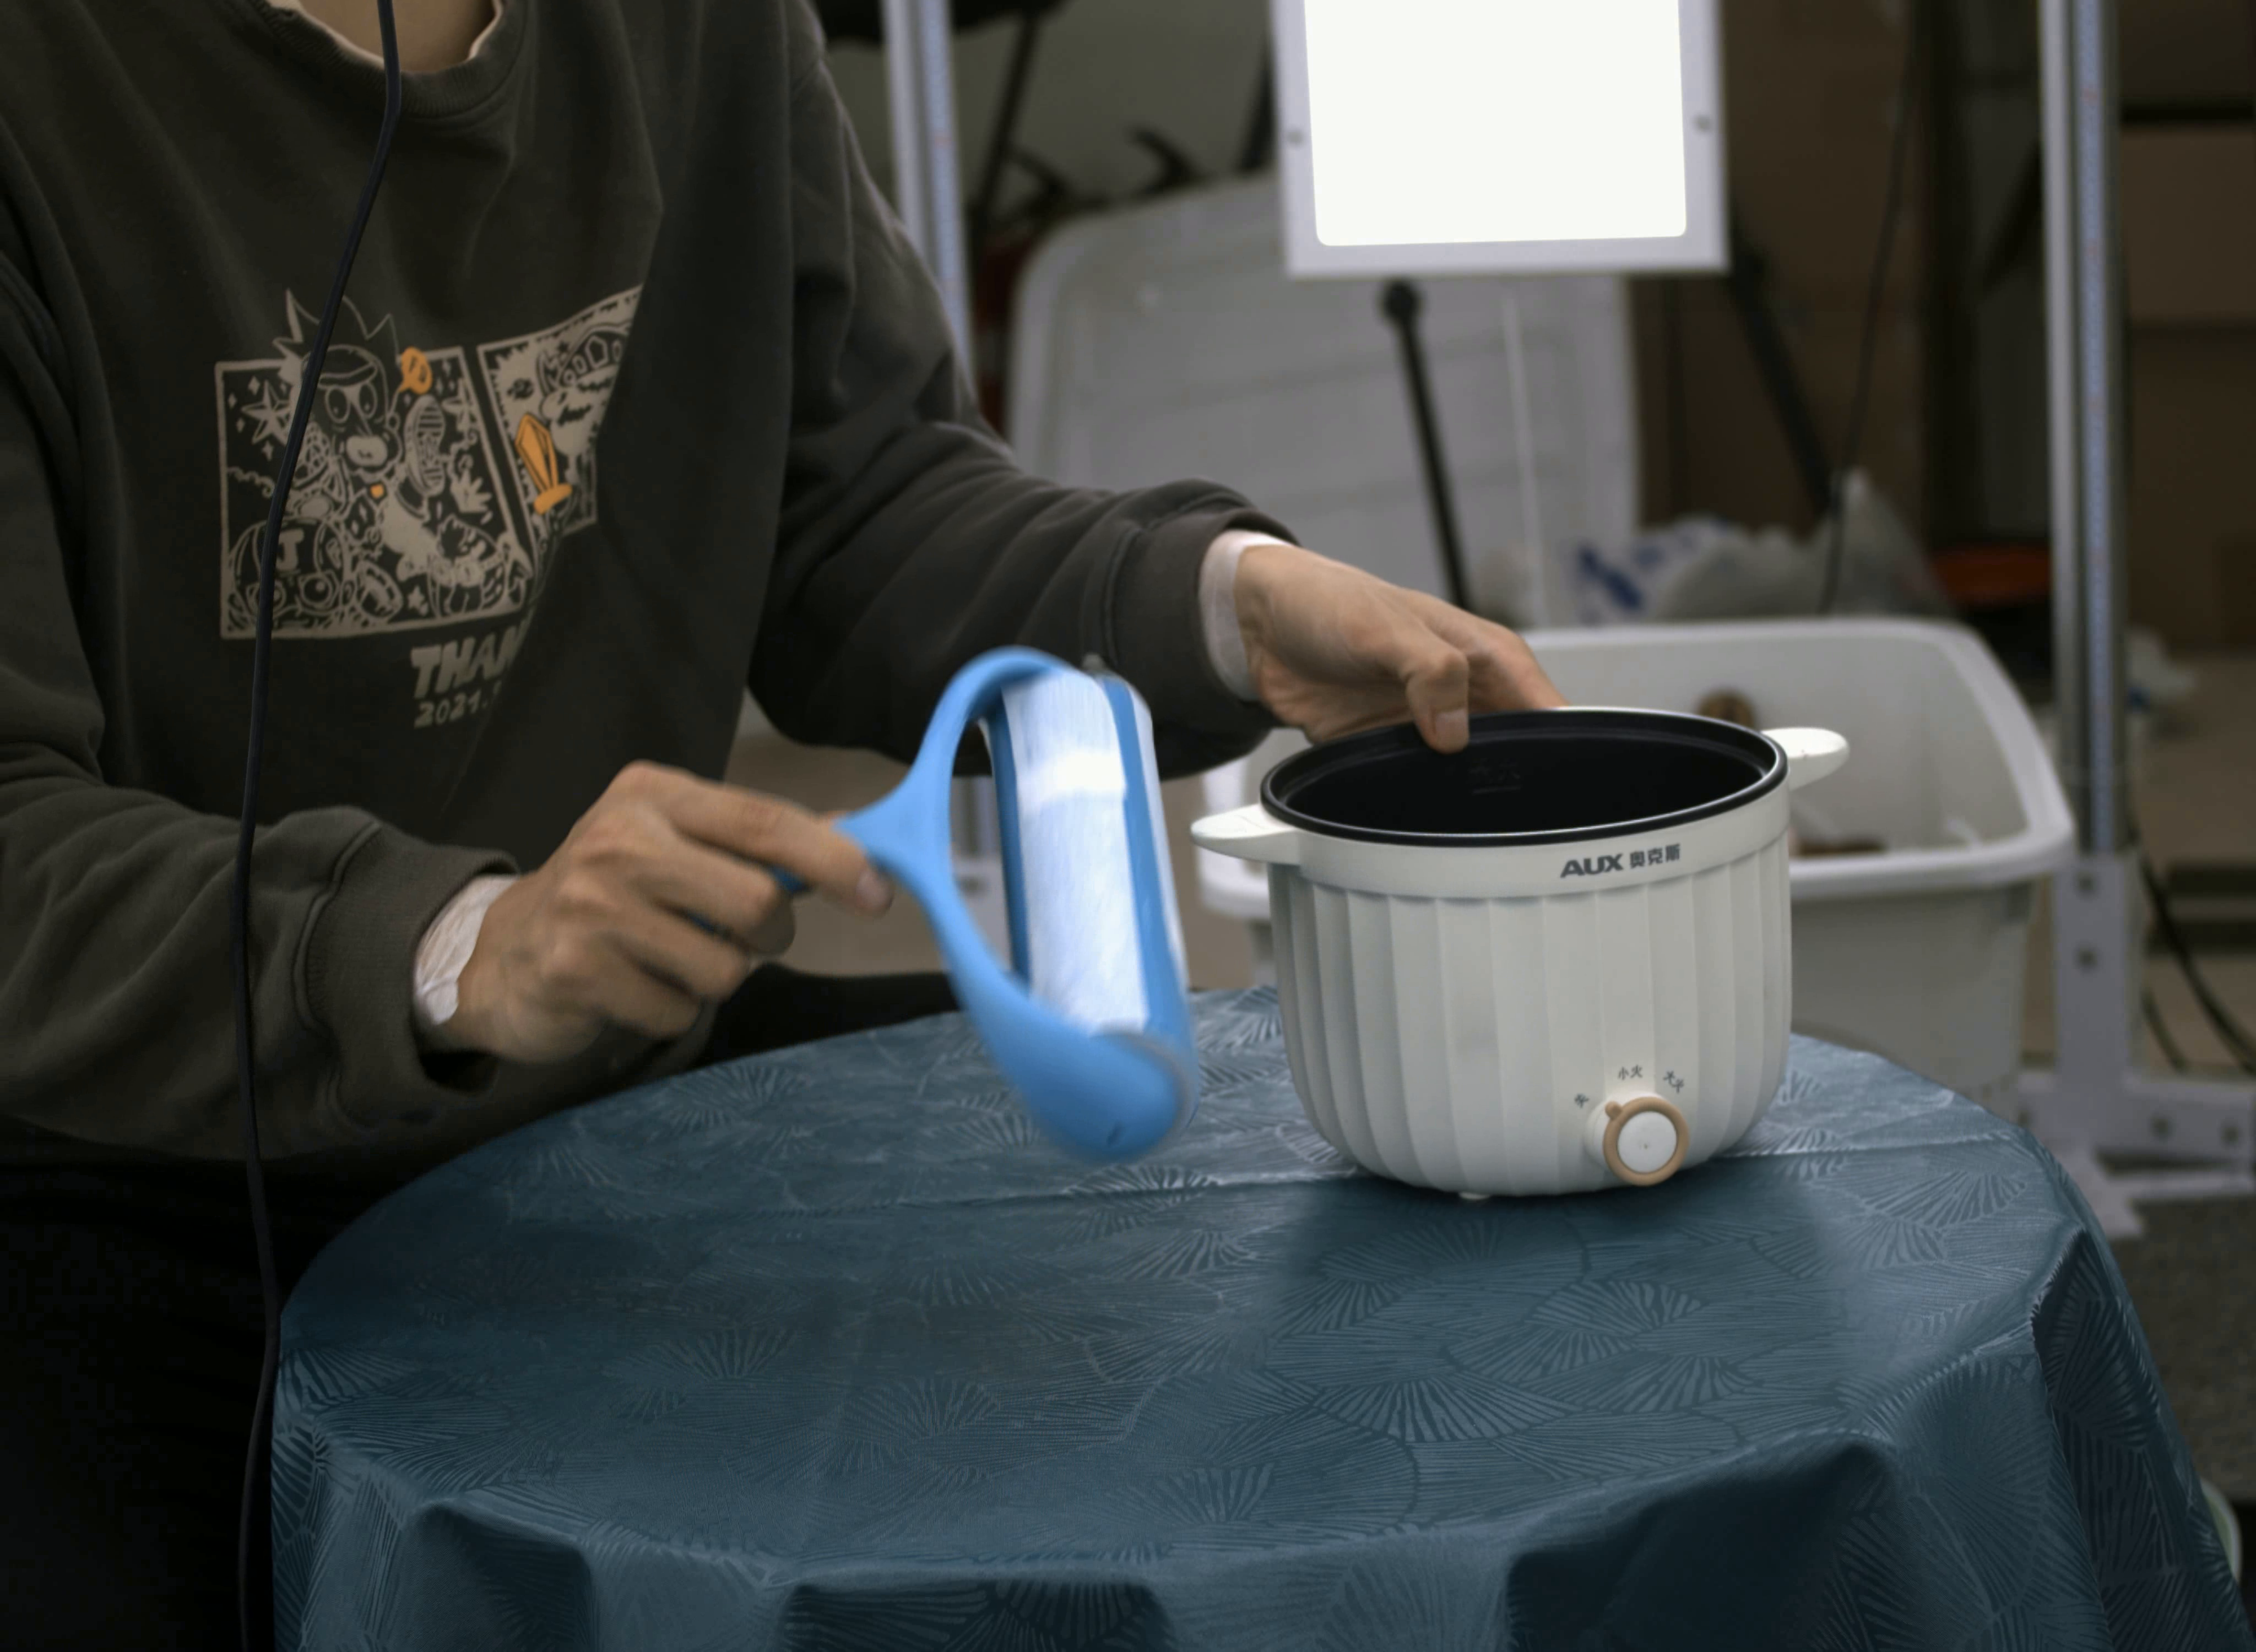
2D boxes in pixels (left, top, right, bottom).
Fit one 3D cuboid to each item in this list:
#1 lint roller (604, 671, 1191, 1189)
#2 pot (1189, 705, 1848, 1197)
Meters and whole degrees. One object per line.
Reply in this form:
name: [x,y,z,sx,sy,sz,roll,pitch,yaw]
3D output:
lint roller: [-0.072,0.031,1.708,0.179,0.068,0.229,0,37,-5]
pot: [0.143,0.044,1.885,0.237,0.143,0.192,-10,12,-14]
